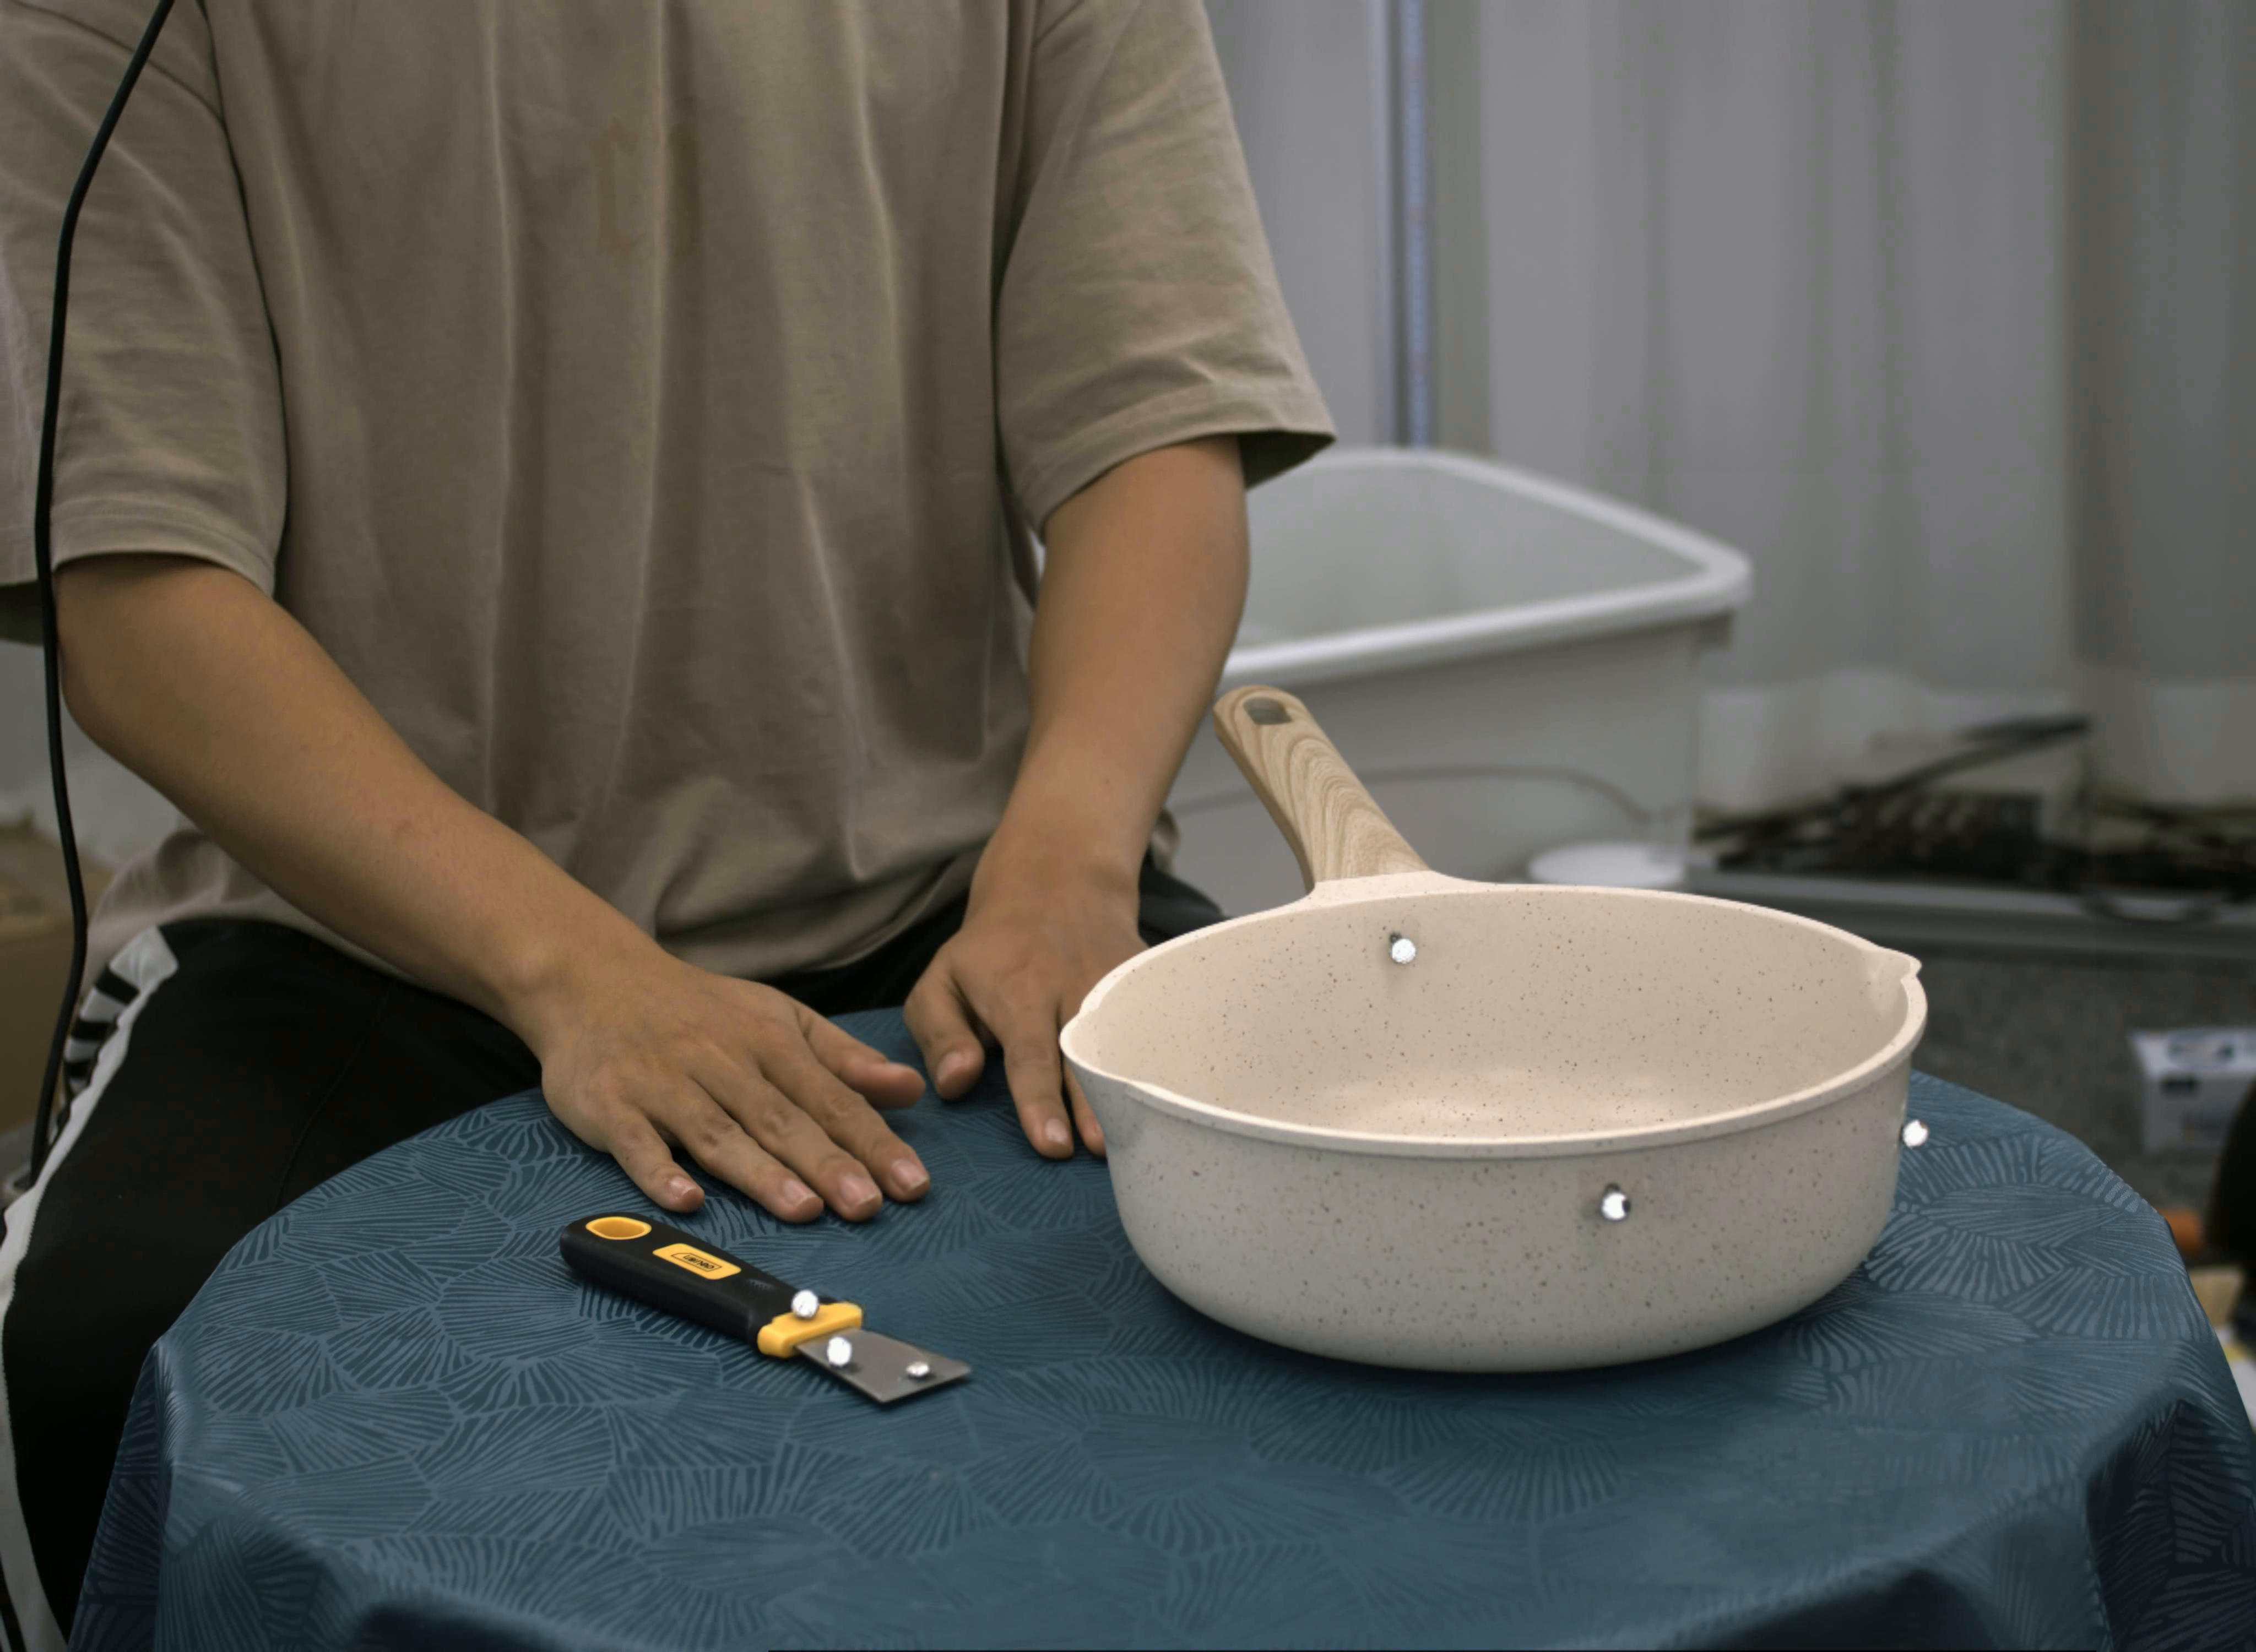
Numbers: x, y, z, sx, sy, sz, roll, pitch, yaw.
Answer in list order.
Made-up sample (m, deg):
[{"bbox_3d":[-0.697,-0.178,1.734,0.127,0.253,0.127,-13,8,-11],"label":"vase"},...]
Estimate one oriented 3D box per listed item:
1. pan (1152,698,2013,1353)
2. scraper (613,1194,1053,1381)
[{"bbox_3d":[0.117,0.056,1.715,0.262,0.101,0.438,-9,16,-11],"label":"pan"},{"bbox_3d":[-0.092,0.135,1.607,0.039,0.015,0.172,-21,25,-39],"label":"scraper"}]
